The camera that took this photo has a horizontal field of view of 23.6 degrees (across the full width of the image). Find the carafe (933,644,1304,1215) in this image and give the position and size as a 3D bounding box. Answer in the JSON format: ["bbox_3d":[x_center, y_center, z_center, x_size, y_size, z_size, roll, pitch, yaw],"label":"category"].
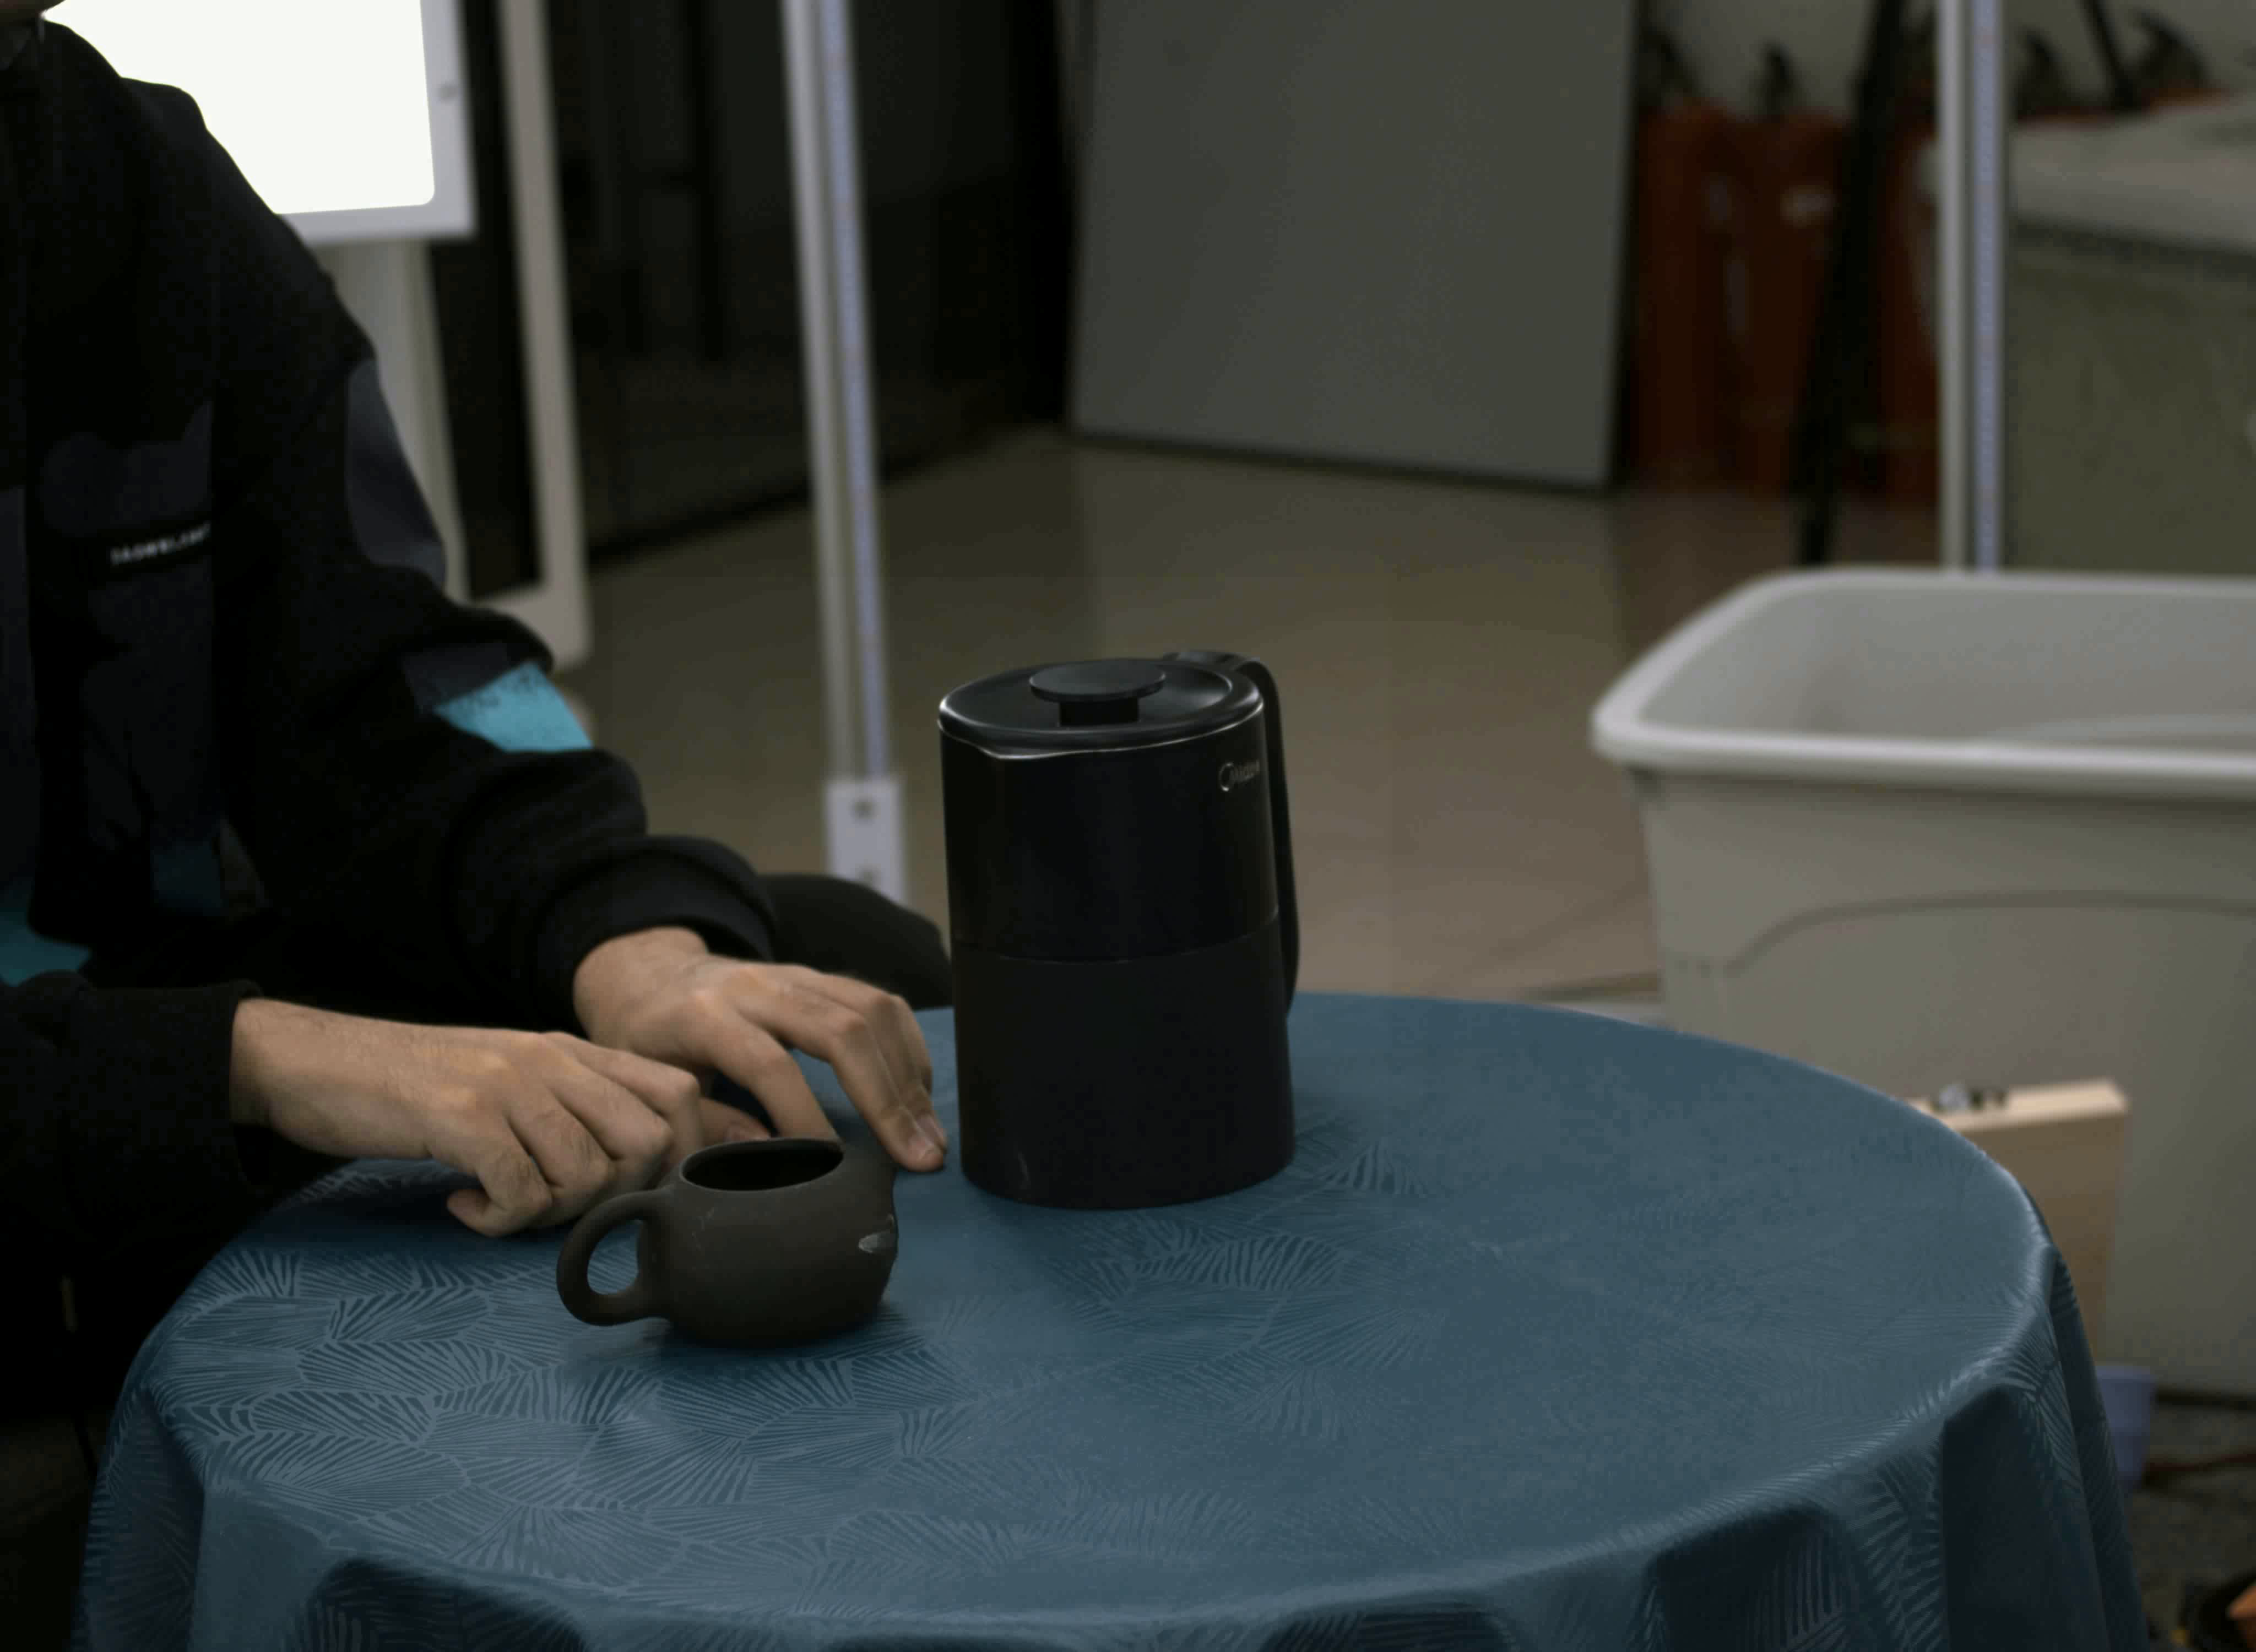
[{"bbox_3d":[0.005,0.024,1.804,0.115,0.175,0.169,1,17,28],"label":"carafe"}]

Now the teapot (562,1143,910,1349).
[{"bbox_3d":[-0.119,0.130,1.666,0.112,0.053,0.083,-6,12,-19],"label":"teapot"}]
